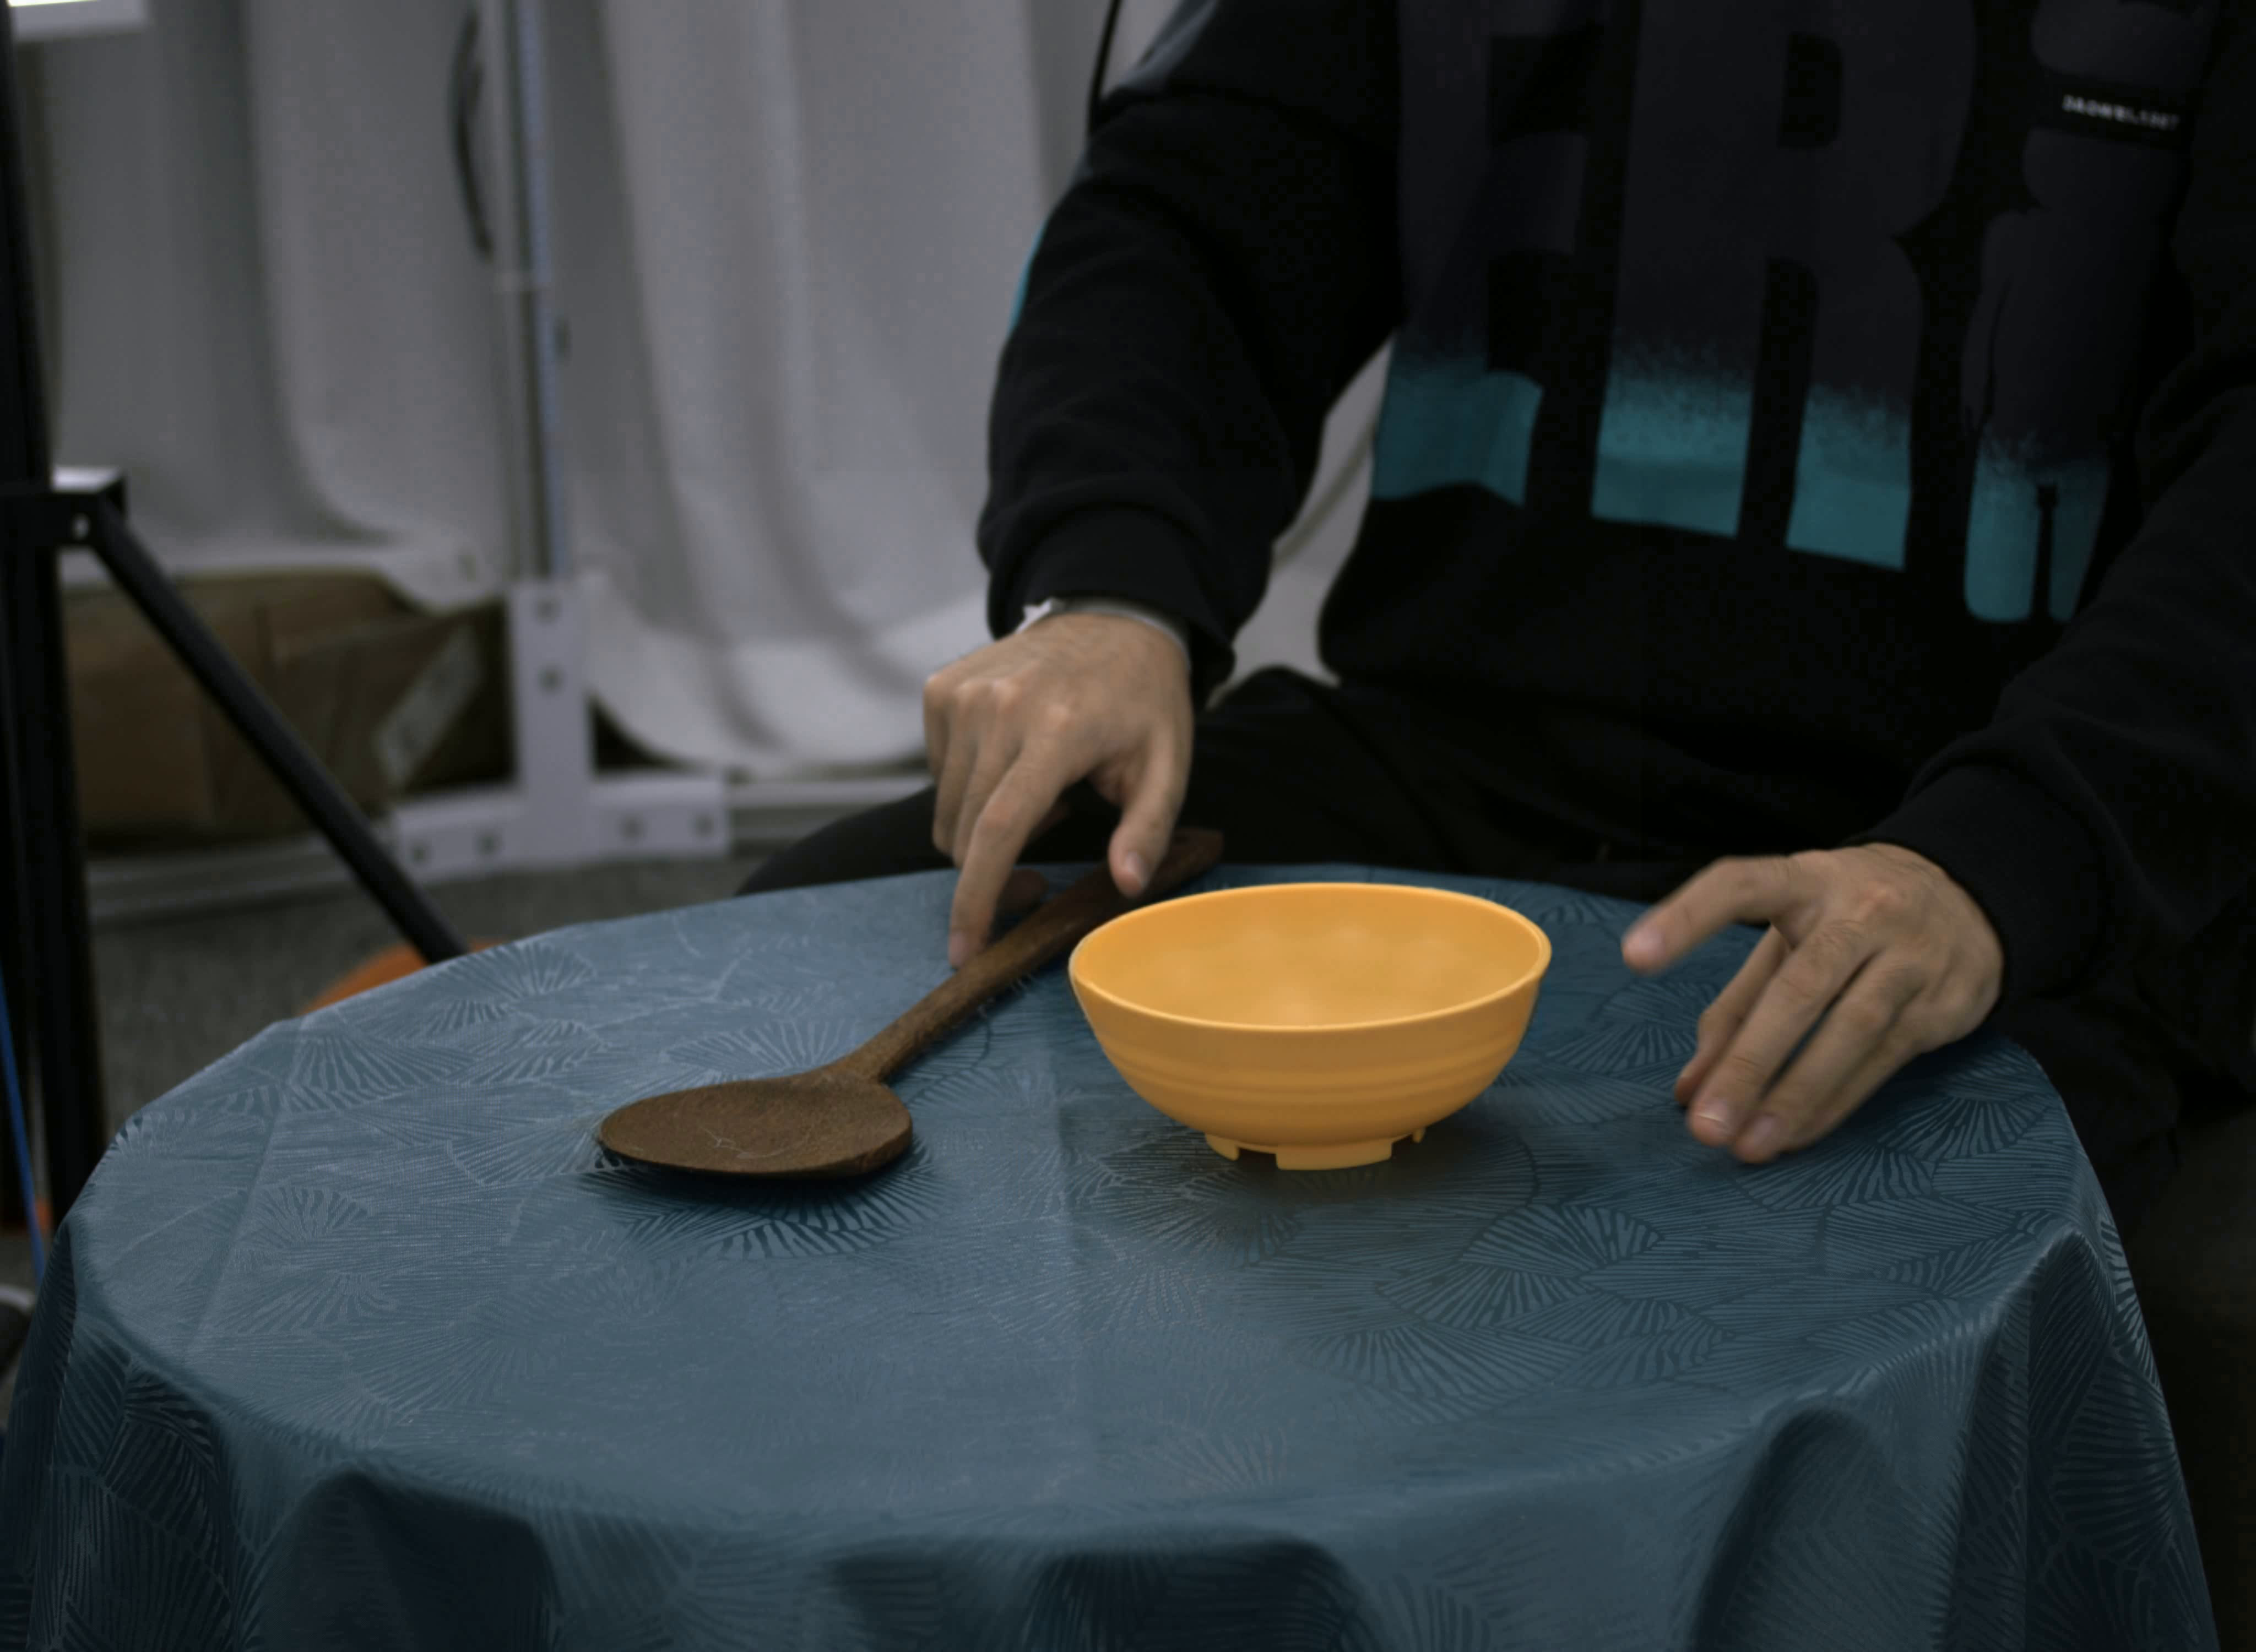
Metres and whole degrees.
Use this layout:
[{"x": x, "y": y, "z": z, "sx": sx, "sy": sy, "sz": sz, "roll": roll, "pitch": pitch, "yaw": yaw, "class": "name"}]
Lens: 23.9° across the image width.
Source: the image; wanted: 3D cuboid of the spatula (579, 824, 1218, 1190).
[{"x": -0.052, "y": 0.053, "z": 1.731, "sx": 0.097, "sy": 0.016, "sz": 0.380, "roll": 6, "pitch": 18, "yaw": 24, "class": "spatula"}]

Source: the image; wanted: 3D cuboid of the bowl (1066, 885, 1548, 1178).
[{"x": 0.053, "y": 0.067, "z": 1.593, "sx": 0.144, "sy": 0.060, "sz": 0.146, "roll": 0, "pitch": 16, "yaw": -1, "class": "bowl"}]
